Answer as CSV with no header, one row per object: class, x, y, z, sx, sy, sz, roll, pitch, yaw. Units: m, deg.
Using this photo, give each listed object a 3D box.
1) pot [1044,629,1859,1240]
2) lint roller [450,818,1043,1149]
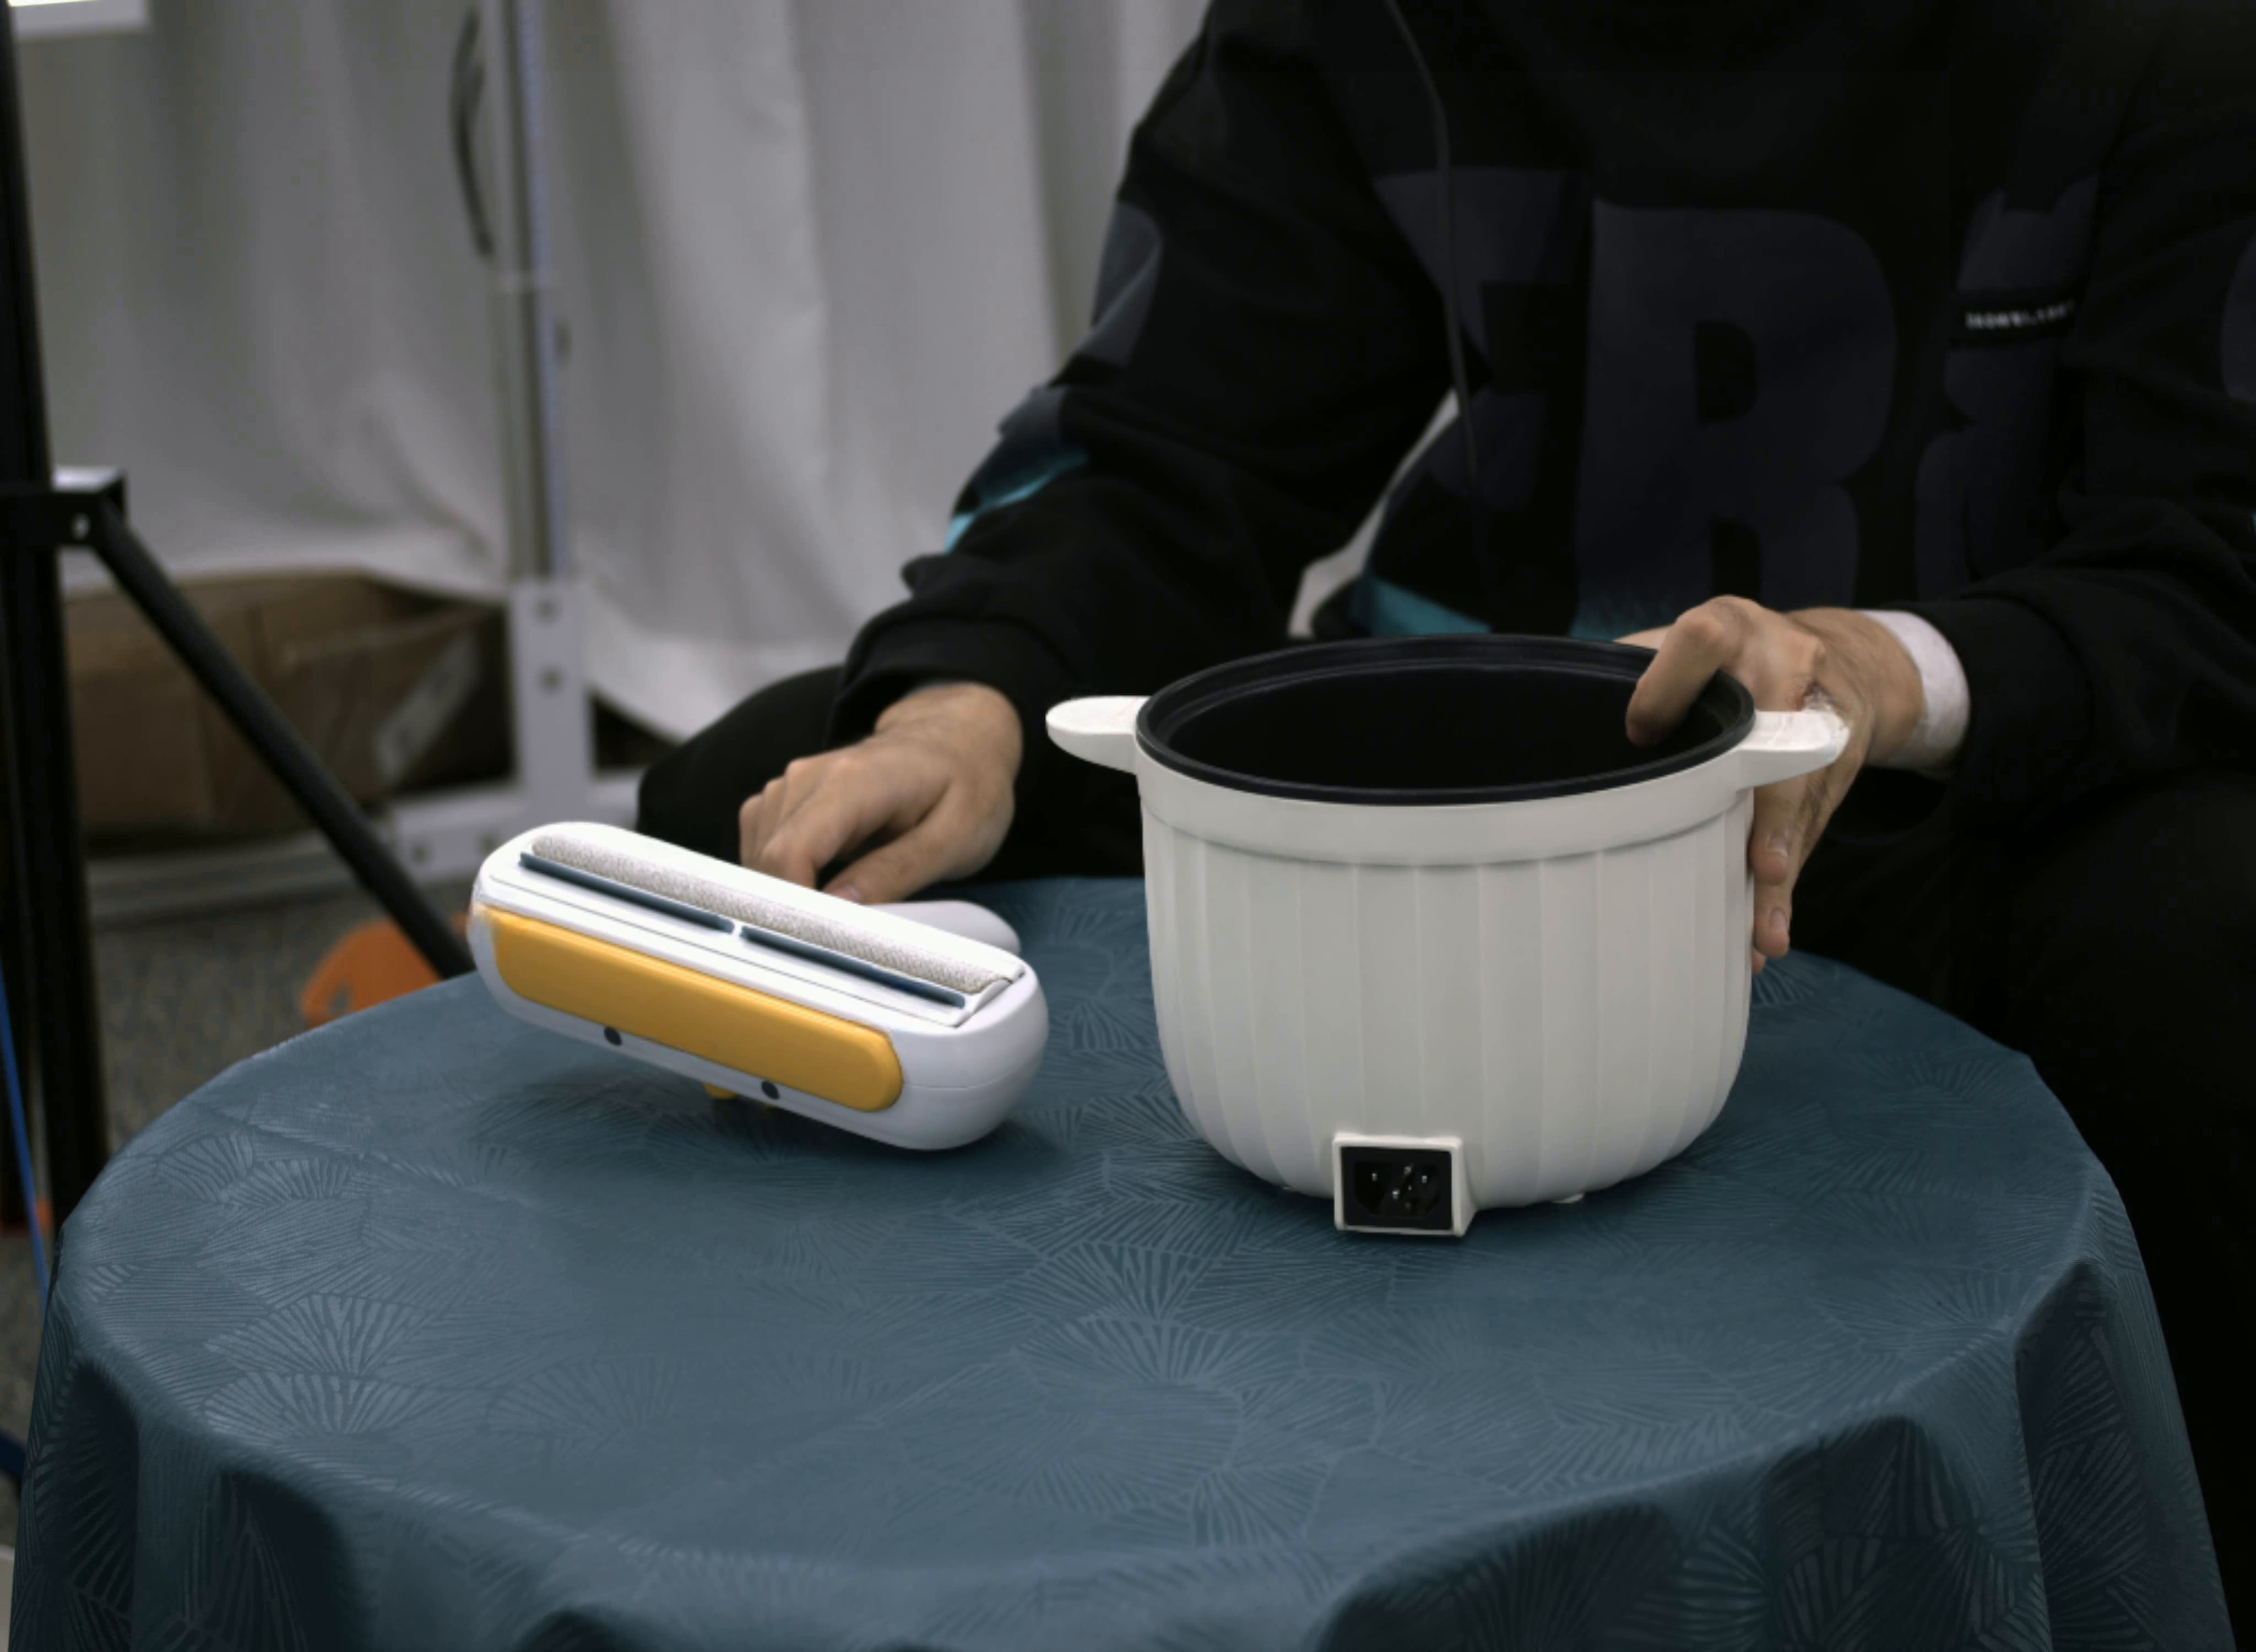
pot,0.095,0.028,1.568,0.242,0.142,0.189,3,19,15
lint roller,-0.091,0.040,1.688,0.196,0.074,0.188,13,20,31
